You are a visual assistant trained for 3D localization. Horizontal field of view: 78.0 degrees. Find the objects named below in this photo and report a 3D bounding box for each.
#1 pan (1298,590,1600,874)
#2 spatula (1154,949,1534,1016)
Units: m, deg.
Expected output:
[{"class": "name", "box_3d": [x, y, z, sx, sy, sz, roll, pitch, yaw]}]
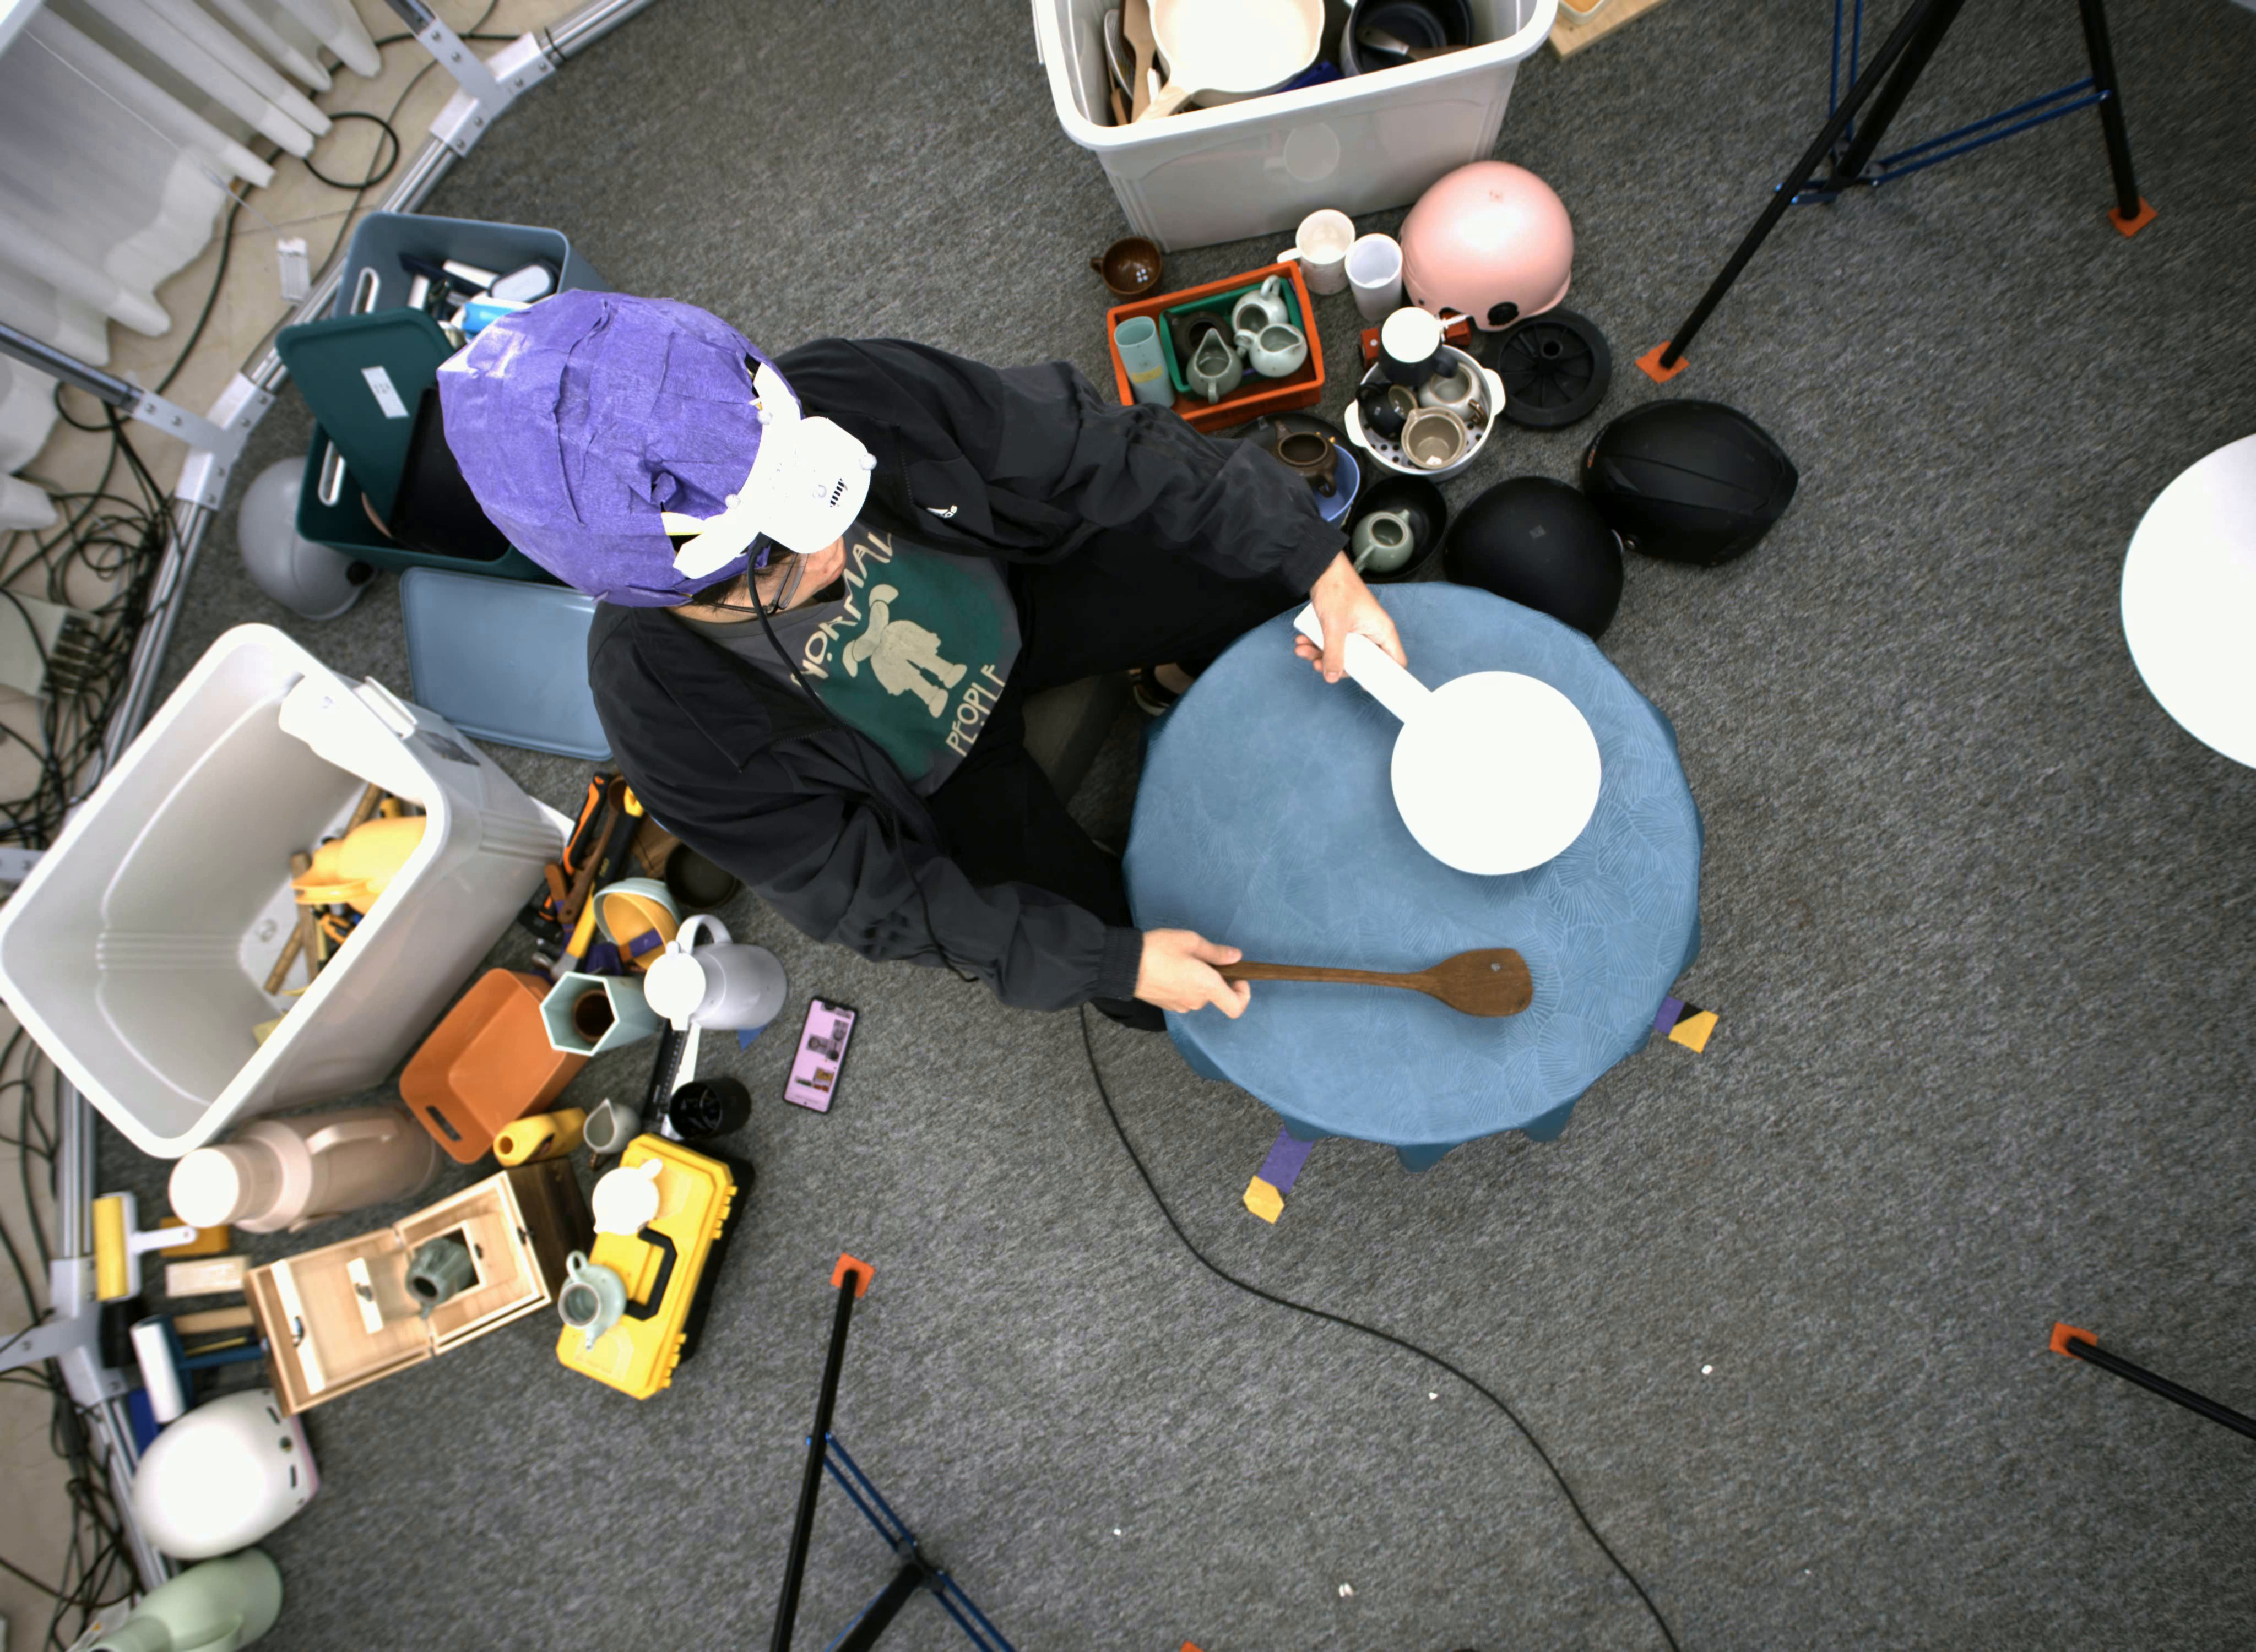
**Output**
[{"class": "pan", "box_3d": [0.316, -0.104, 1.409, 0.353, 0.102, 0.202, 44, 95, 12]}, {"class": "spatula", "box_3d": [0.219, 0.152, 1.418, 0.387, 0.093, 0.016, 2, 129, 7]}]
